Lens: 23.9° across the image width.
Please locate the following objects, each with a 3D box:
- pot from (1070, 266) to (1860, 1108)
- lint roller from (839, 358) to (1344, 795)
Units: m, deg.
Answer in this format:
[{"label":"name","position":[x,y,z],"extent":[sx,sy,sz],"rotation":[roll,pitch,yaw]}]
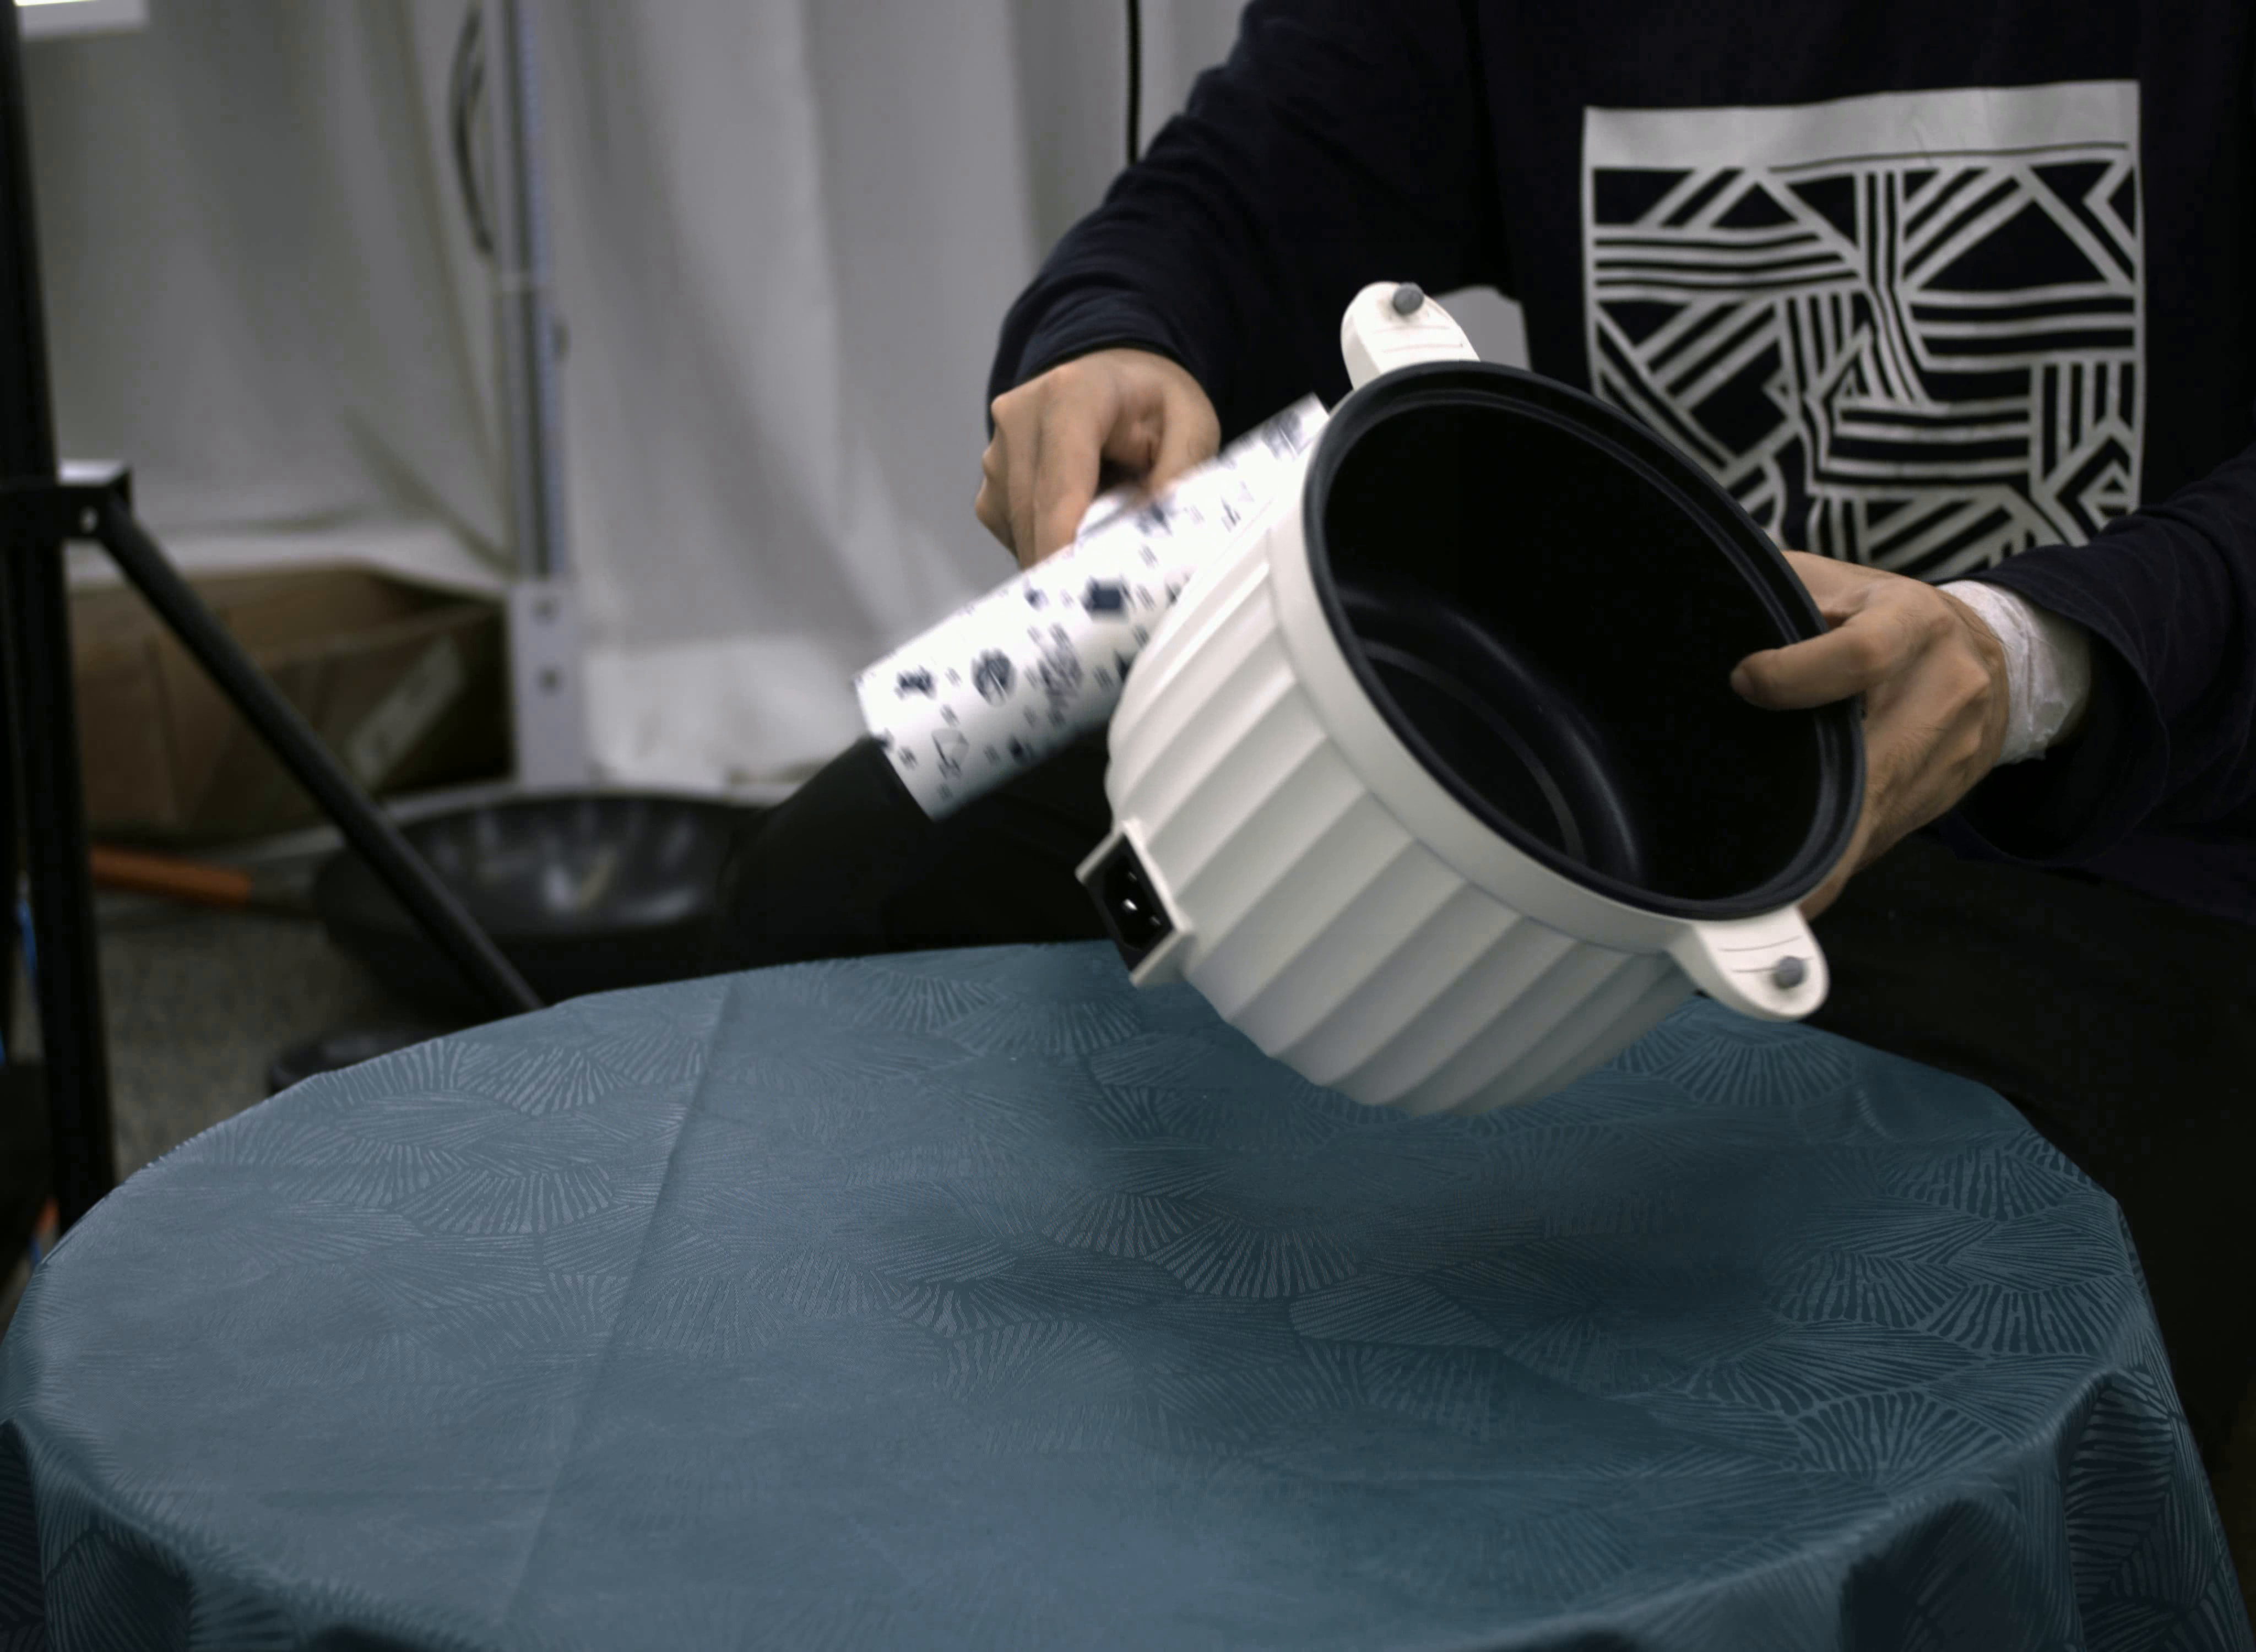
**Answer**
[{"label":"pot","position":[0.091,-0.020,1.459],"extent":[0.186,0.244,0.144],"rotation":[-10,-26,-38]},{"label":"lint roller","position":[-0.007,-0.087,1.635],"extent":[0.176,0.050,0.248],"rotation":[-33,9,5]}]
